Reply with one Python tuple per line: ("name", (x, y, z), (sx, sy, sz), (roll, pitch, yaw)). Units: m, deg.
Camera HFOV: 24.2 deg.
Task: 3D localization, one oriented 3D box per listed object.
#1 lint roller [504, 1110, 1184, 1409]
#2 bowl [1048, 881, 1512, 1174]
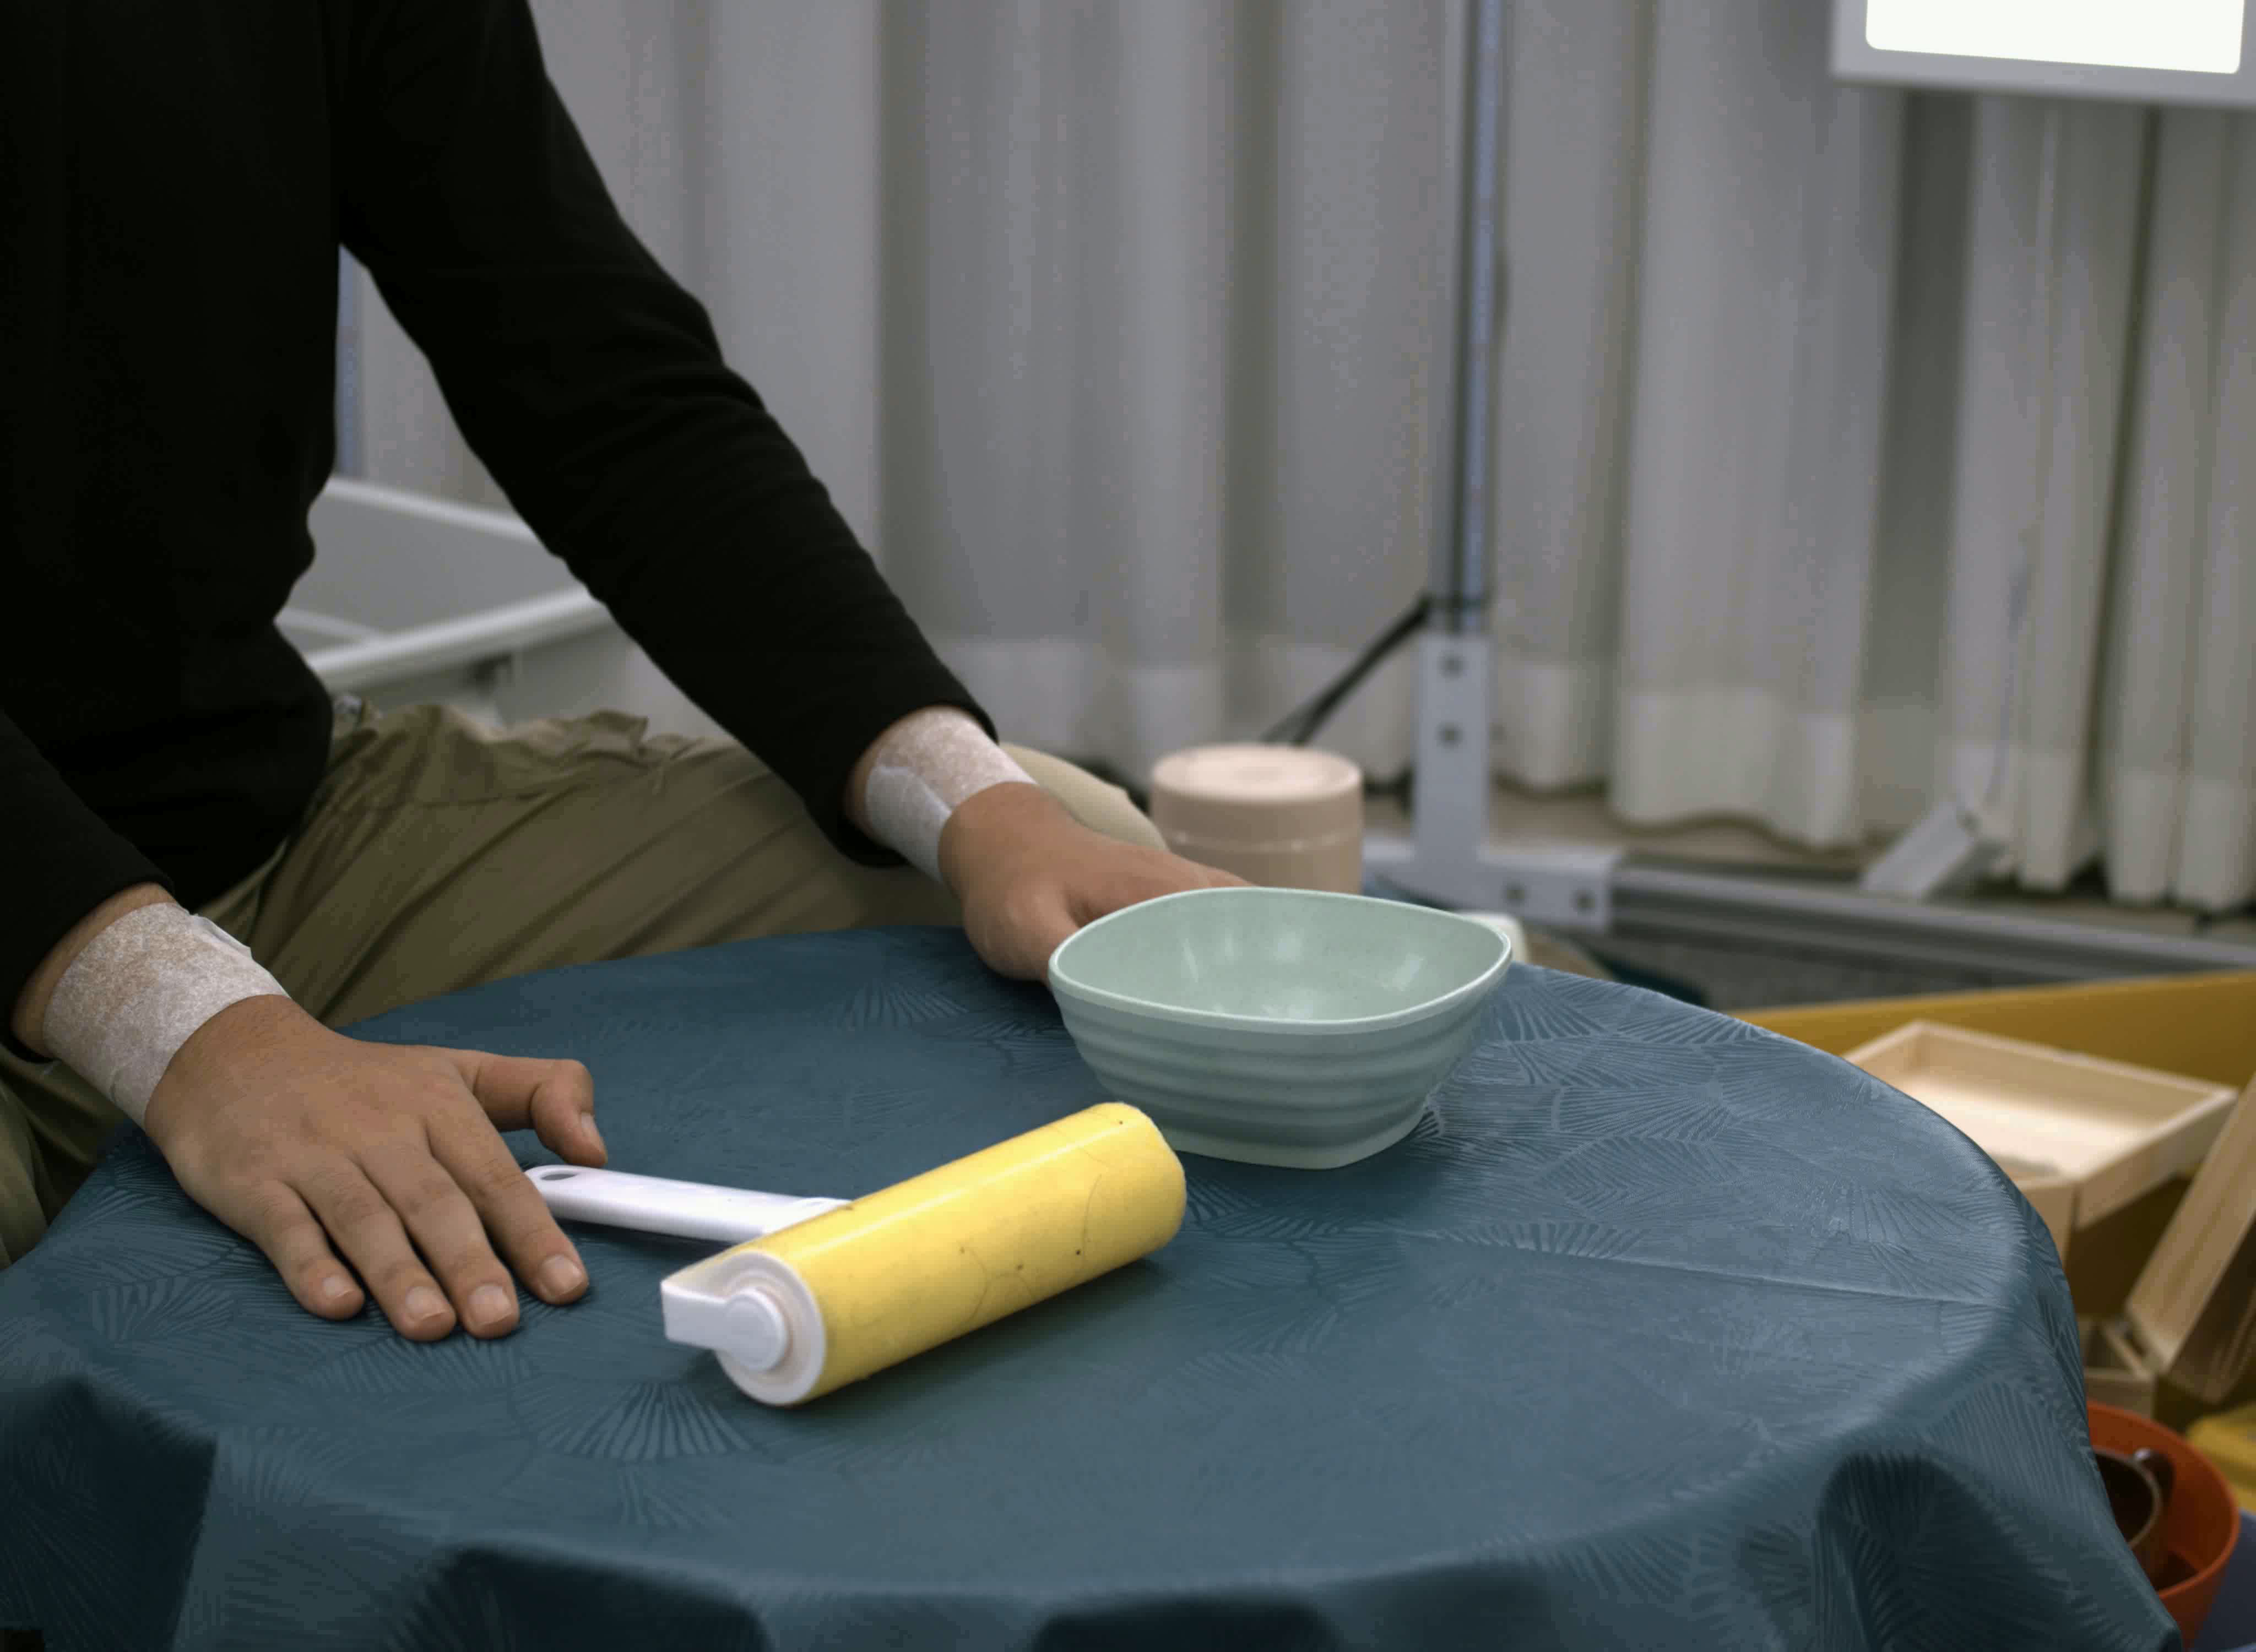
("lint roller", (-0.107, 0.107, 1.538), (0.189, 0.052, 0.175), (17, 22, 33))
("bowl", (0.048, 0.067, 1.679), (0.151, 0.059, 0.150), (2, 17, 0))
